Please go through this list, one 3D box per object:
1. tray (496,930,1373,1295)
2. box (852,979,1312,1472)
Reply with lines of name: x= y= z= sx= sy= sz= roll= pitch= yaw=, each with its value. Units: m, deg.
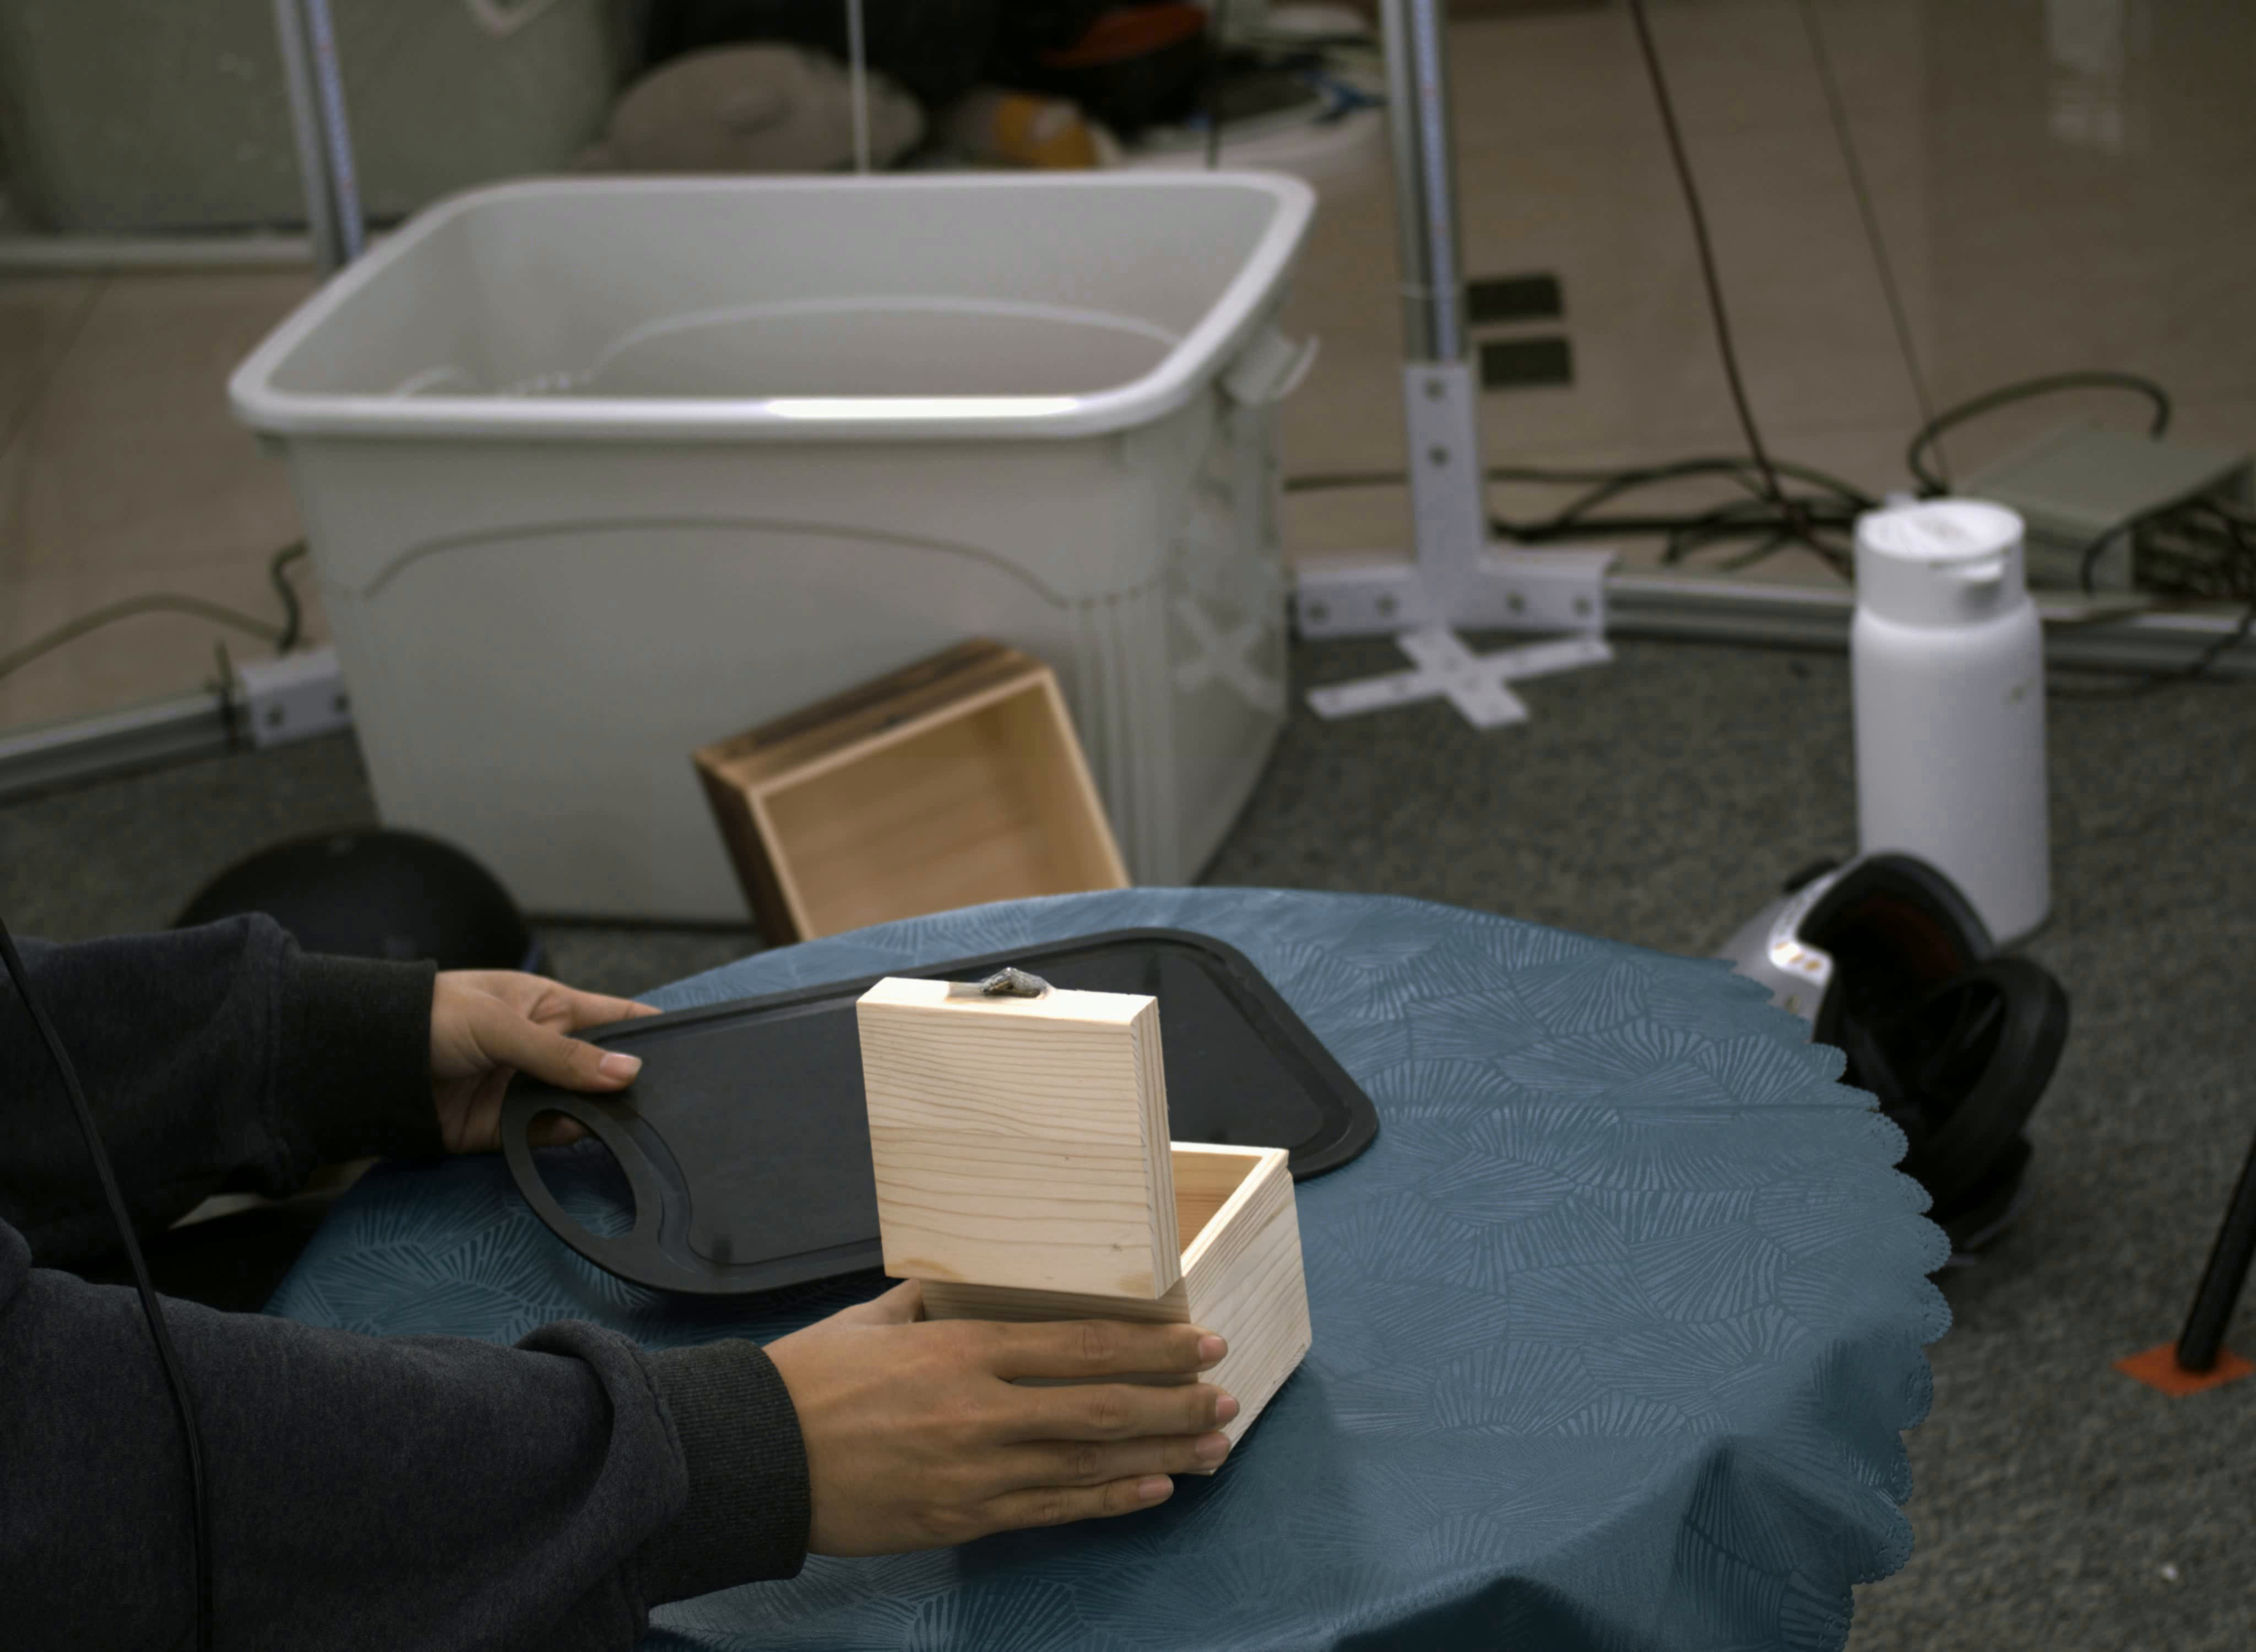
tray: x=-0.080 y=0.107 z=2.187 sx=0.324 sy=0.010 sz=0.208 roll=-10 pitch=29 yaw=-18
box: x=-0.013 y=0.120 z=1.955 sx=0.102 sy=0.187 sz=0.132 roll=3 pitch=26 yaw=22
